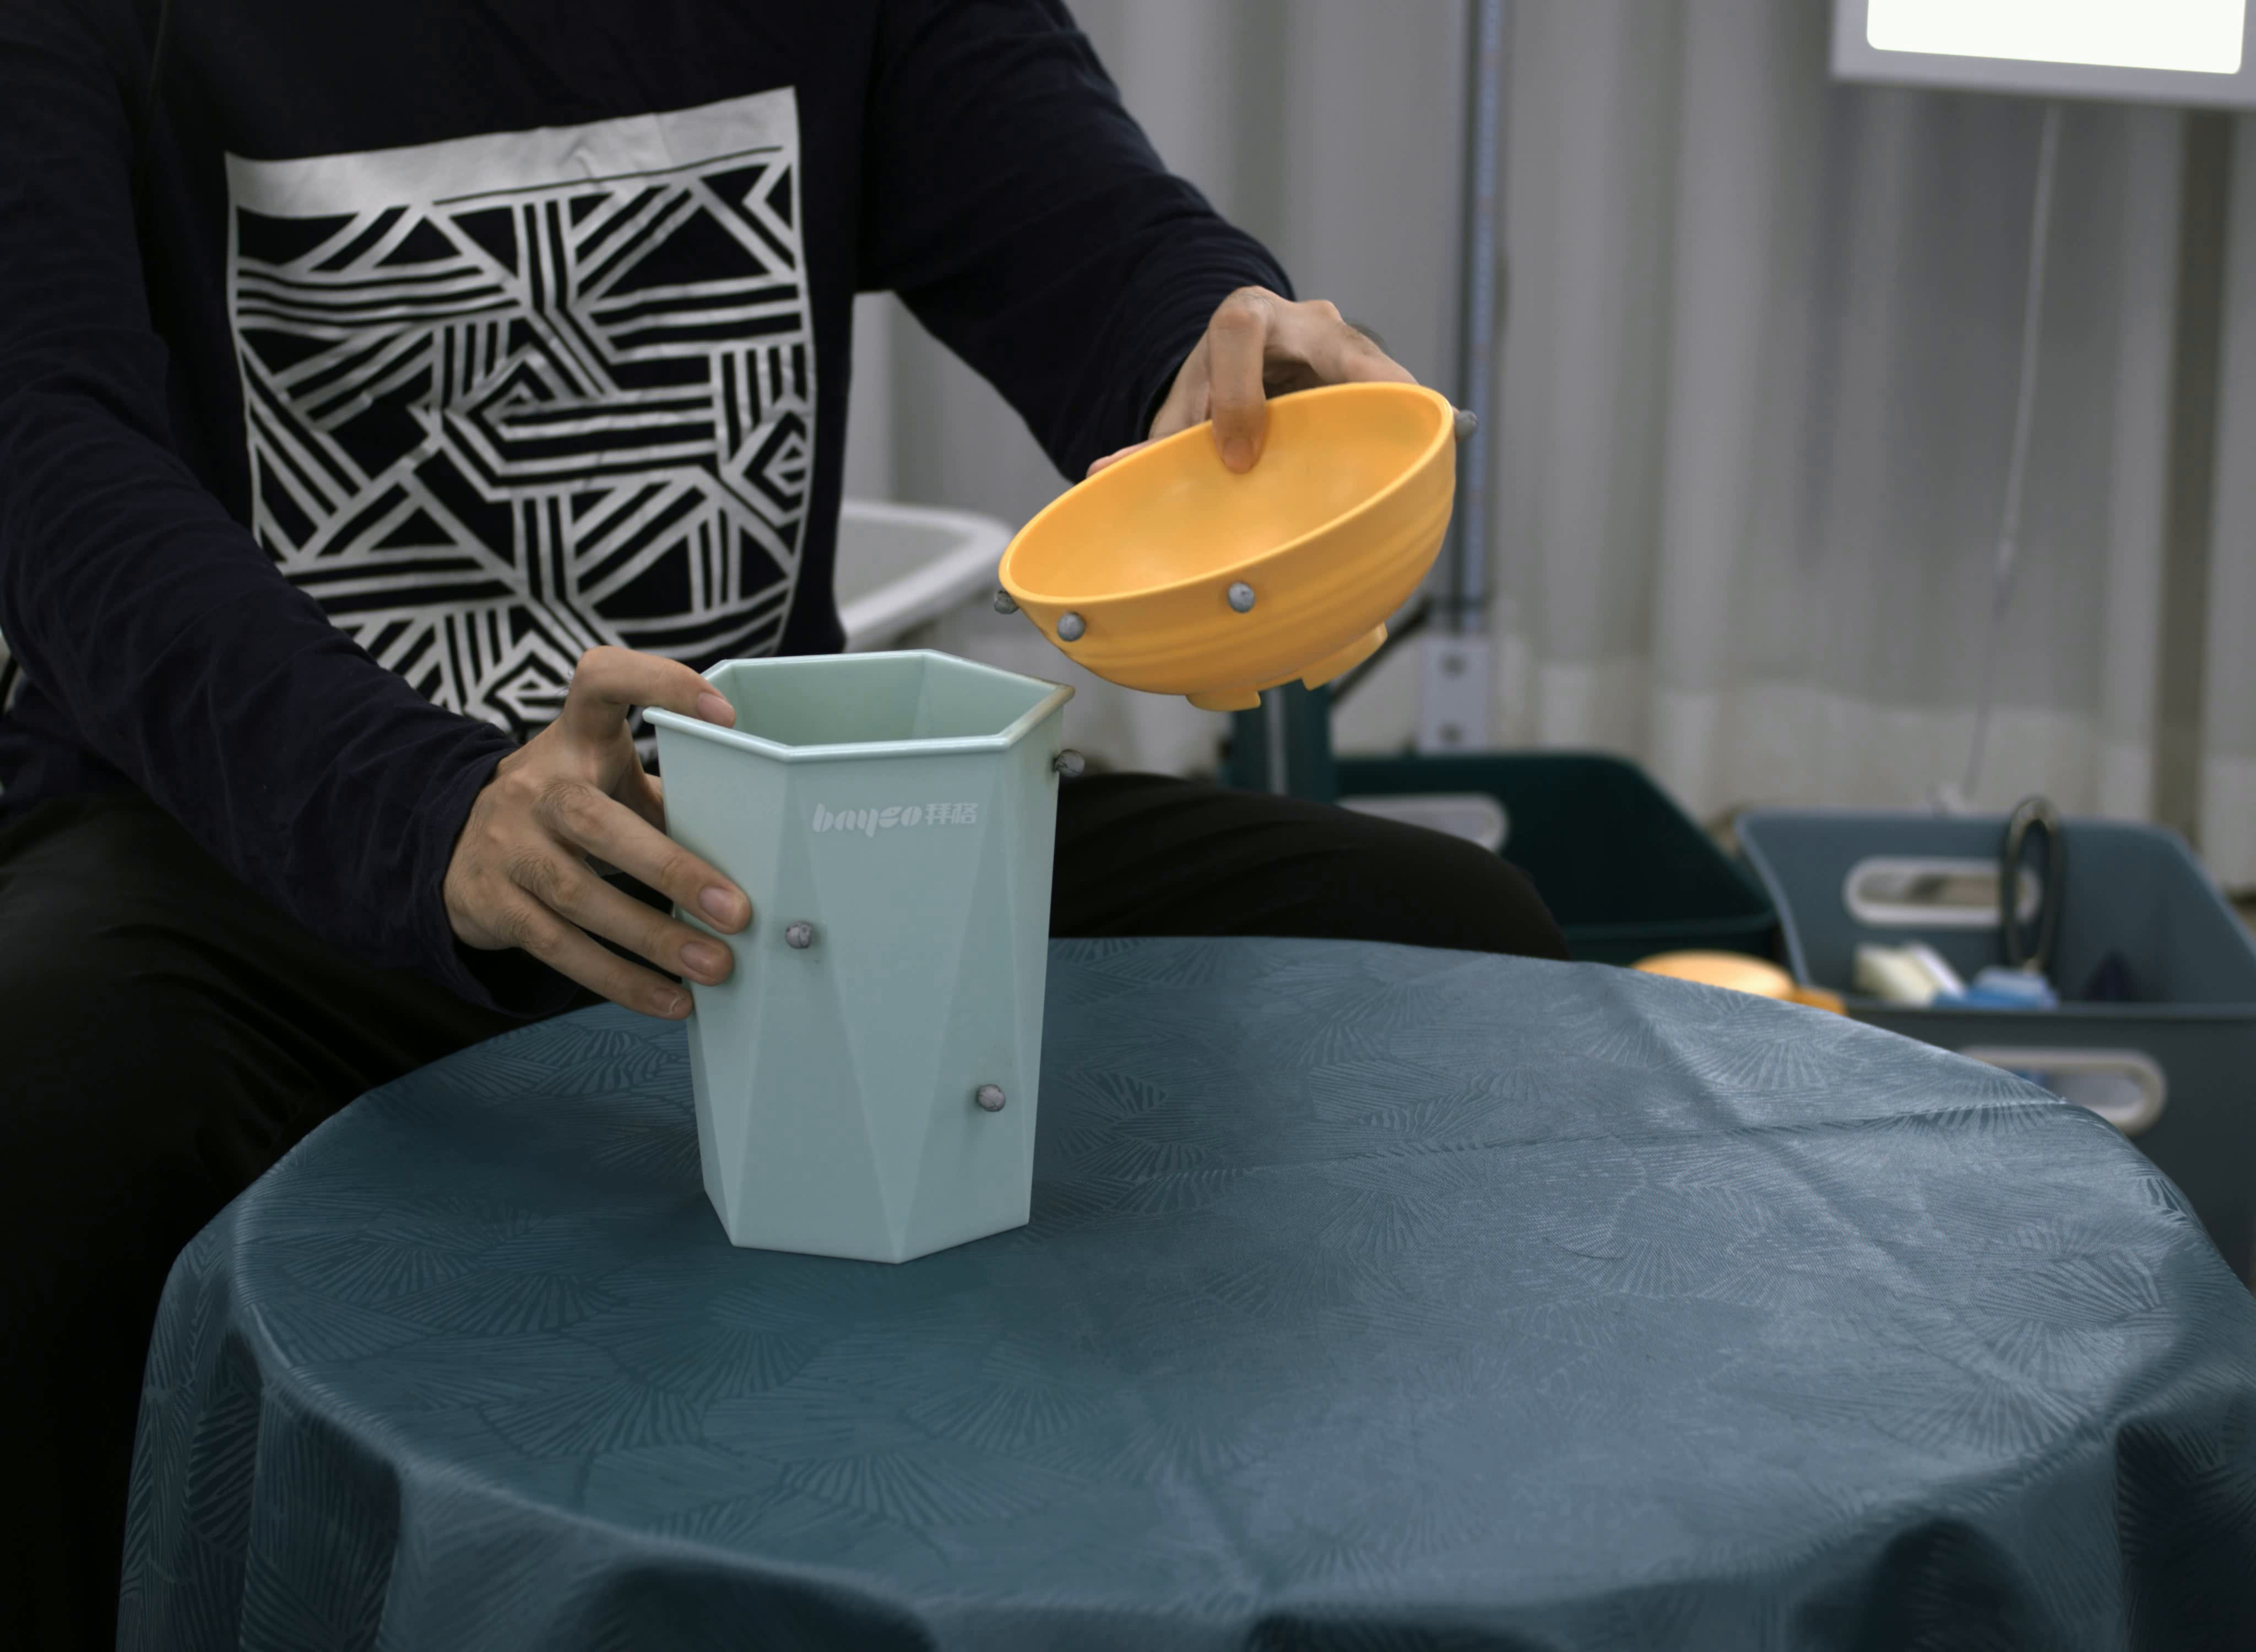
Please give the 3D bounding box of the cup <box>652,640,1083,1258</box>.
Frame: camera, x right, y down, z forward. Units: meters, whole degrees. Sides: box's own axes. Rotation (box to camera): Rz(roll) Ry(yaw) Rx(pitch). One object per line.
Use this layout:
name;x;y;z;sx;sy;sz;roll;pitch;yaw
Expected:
cup;-0.077;0.037;1.584;0.131;0.164;0.114;-3;16;-14

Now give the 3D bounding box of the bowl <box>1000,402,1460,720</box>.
bowl;0.039;-0.072;1.582;0.145;0.061;0.144;-18;18;7
